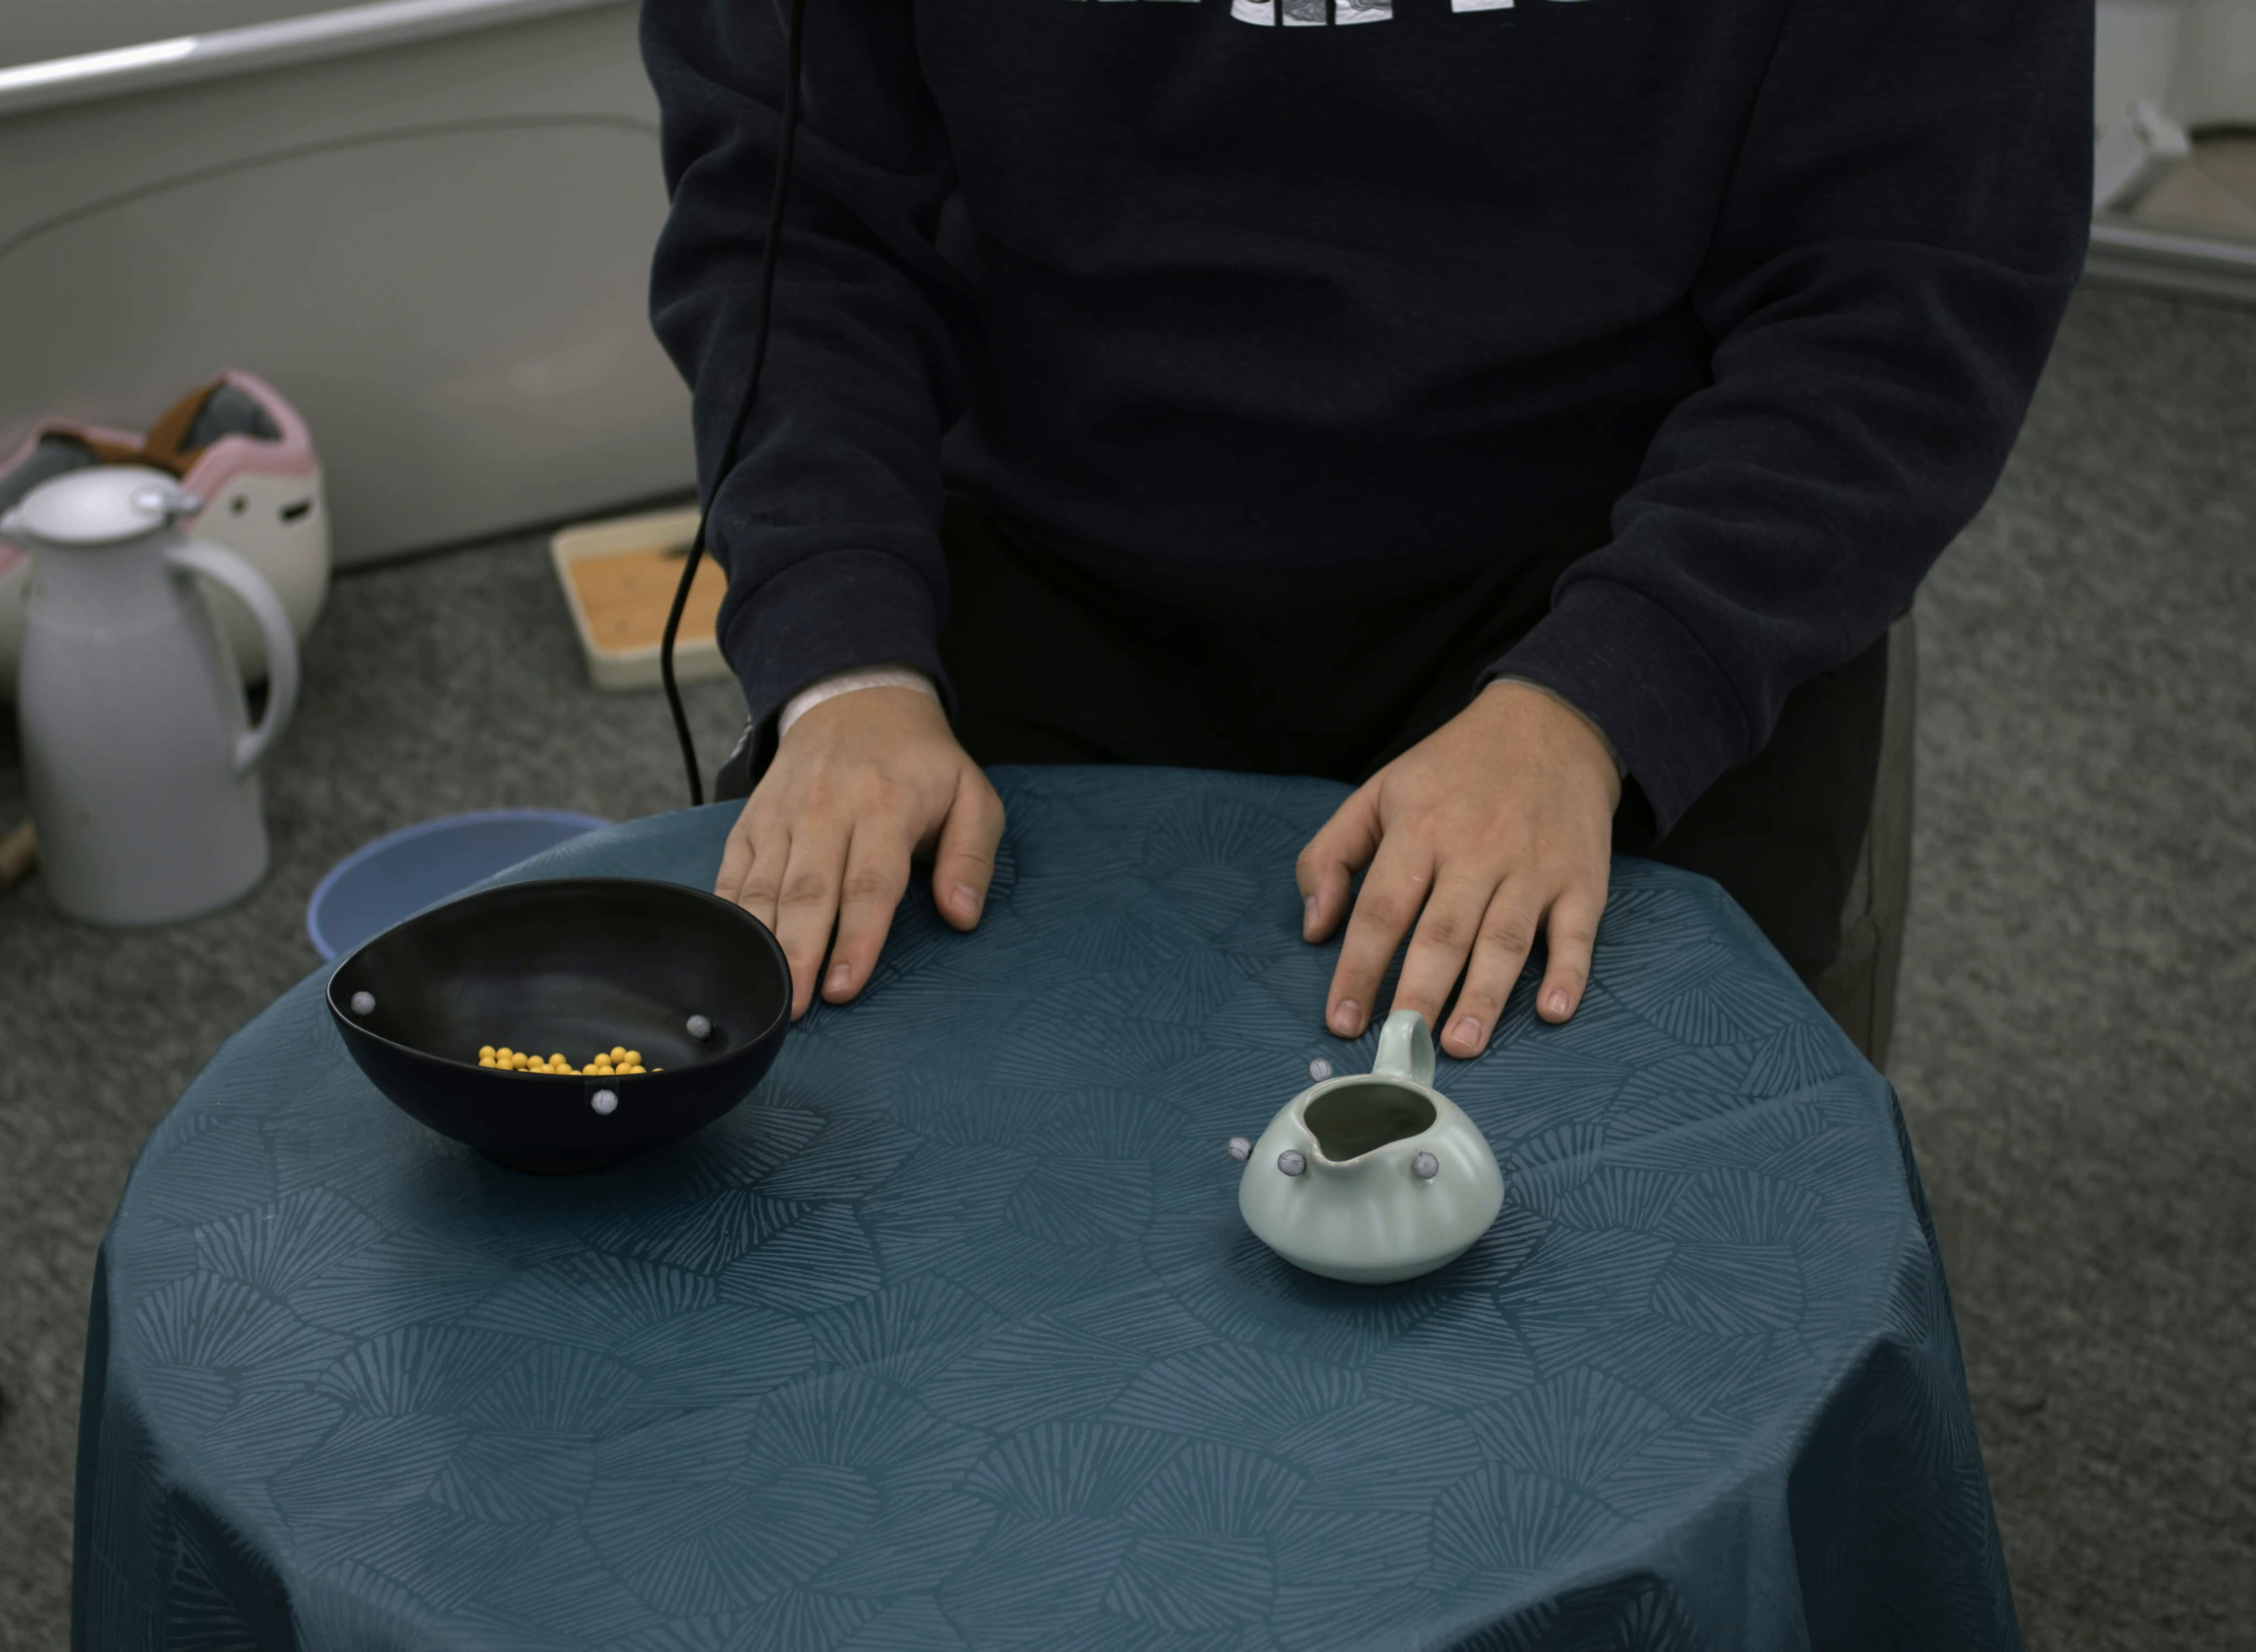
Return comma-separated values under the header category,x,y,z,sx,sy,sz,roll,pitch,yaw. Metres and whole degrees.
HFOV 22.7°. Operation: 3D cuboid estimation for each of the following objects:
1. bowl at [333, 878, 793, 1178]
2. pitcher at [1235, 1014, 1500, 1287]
category,x,y,z,sx,sy,sz,roll,pitch,yaw
bowl,-0.191,0.077,1.901,0.169,0.066,0.139,11,30,27
pitcher,0.080,0.107,1.827,0.085,0.060,0.110,5,26,14
